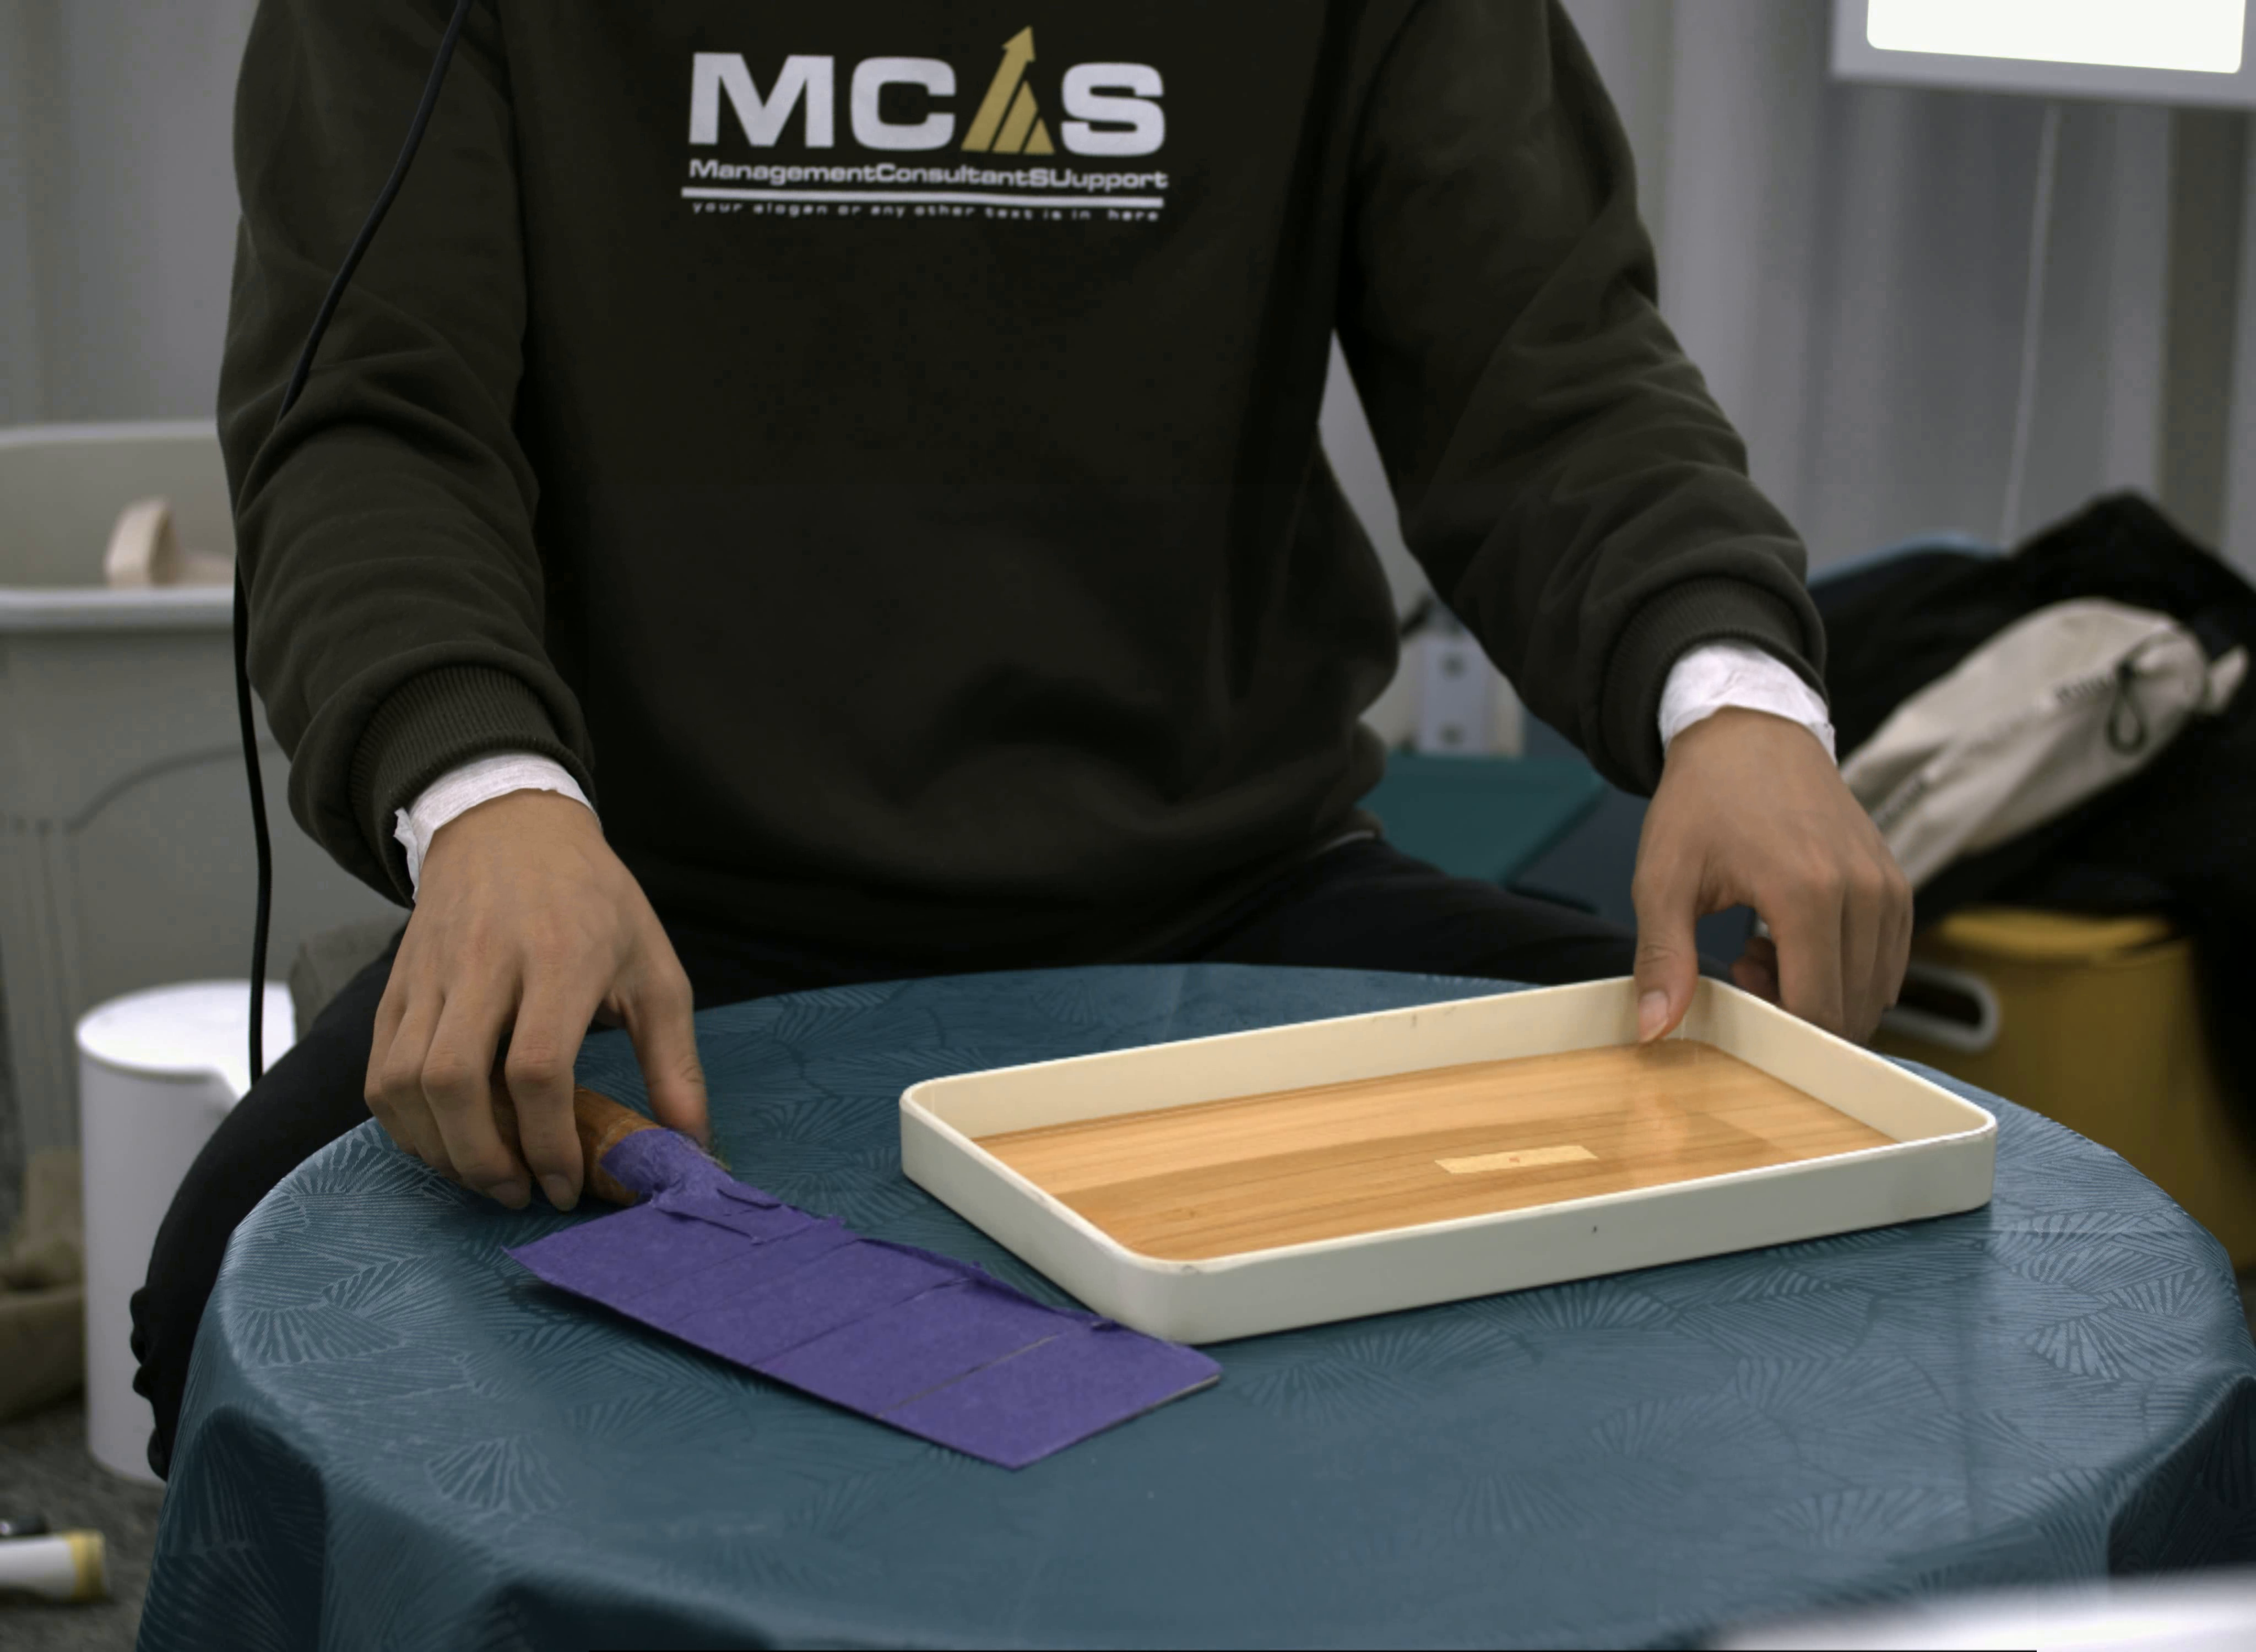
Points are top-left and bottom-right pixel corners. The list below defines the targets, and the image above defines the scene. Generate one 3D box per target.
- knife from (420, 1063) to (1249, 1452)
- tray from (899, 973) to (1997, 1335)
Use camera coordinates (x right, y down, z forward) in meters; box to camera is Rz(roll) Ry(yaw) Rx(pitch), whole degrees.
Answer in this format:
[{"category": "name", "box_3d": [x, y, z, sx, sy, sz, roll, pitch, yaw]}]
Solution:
[{"category": "knife", "box_3d": [-0.114, 0.123, 1.531, 0.311, 0.032, 0.104, 14, 19, 38]}, {"category": "tray", "box_3d": [0.098, 0.098, 1.629, 0.301, 0.027, 0.189, -7, 16, -26]}]
